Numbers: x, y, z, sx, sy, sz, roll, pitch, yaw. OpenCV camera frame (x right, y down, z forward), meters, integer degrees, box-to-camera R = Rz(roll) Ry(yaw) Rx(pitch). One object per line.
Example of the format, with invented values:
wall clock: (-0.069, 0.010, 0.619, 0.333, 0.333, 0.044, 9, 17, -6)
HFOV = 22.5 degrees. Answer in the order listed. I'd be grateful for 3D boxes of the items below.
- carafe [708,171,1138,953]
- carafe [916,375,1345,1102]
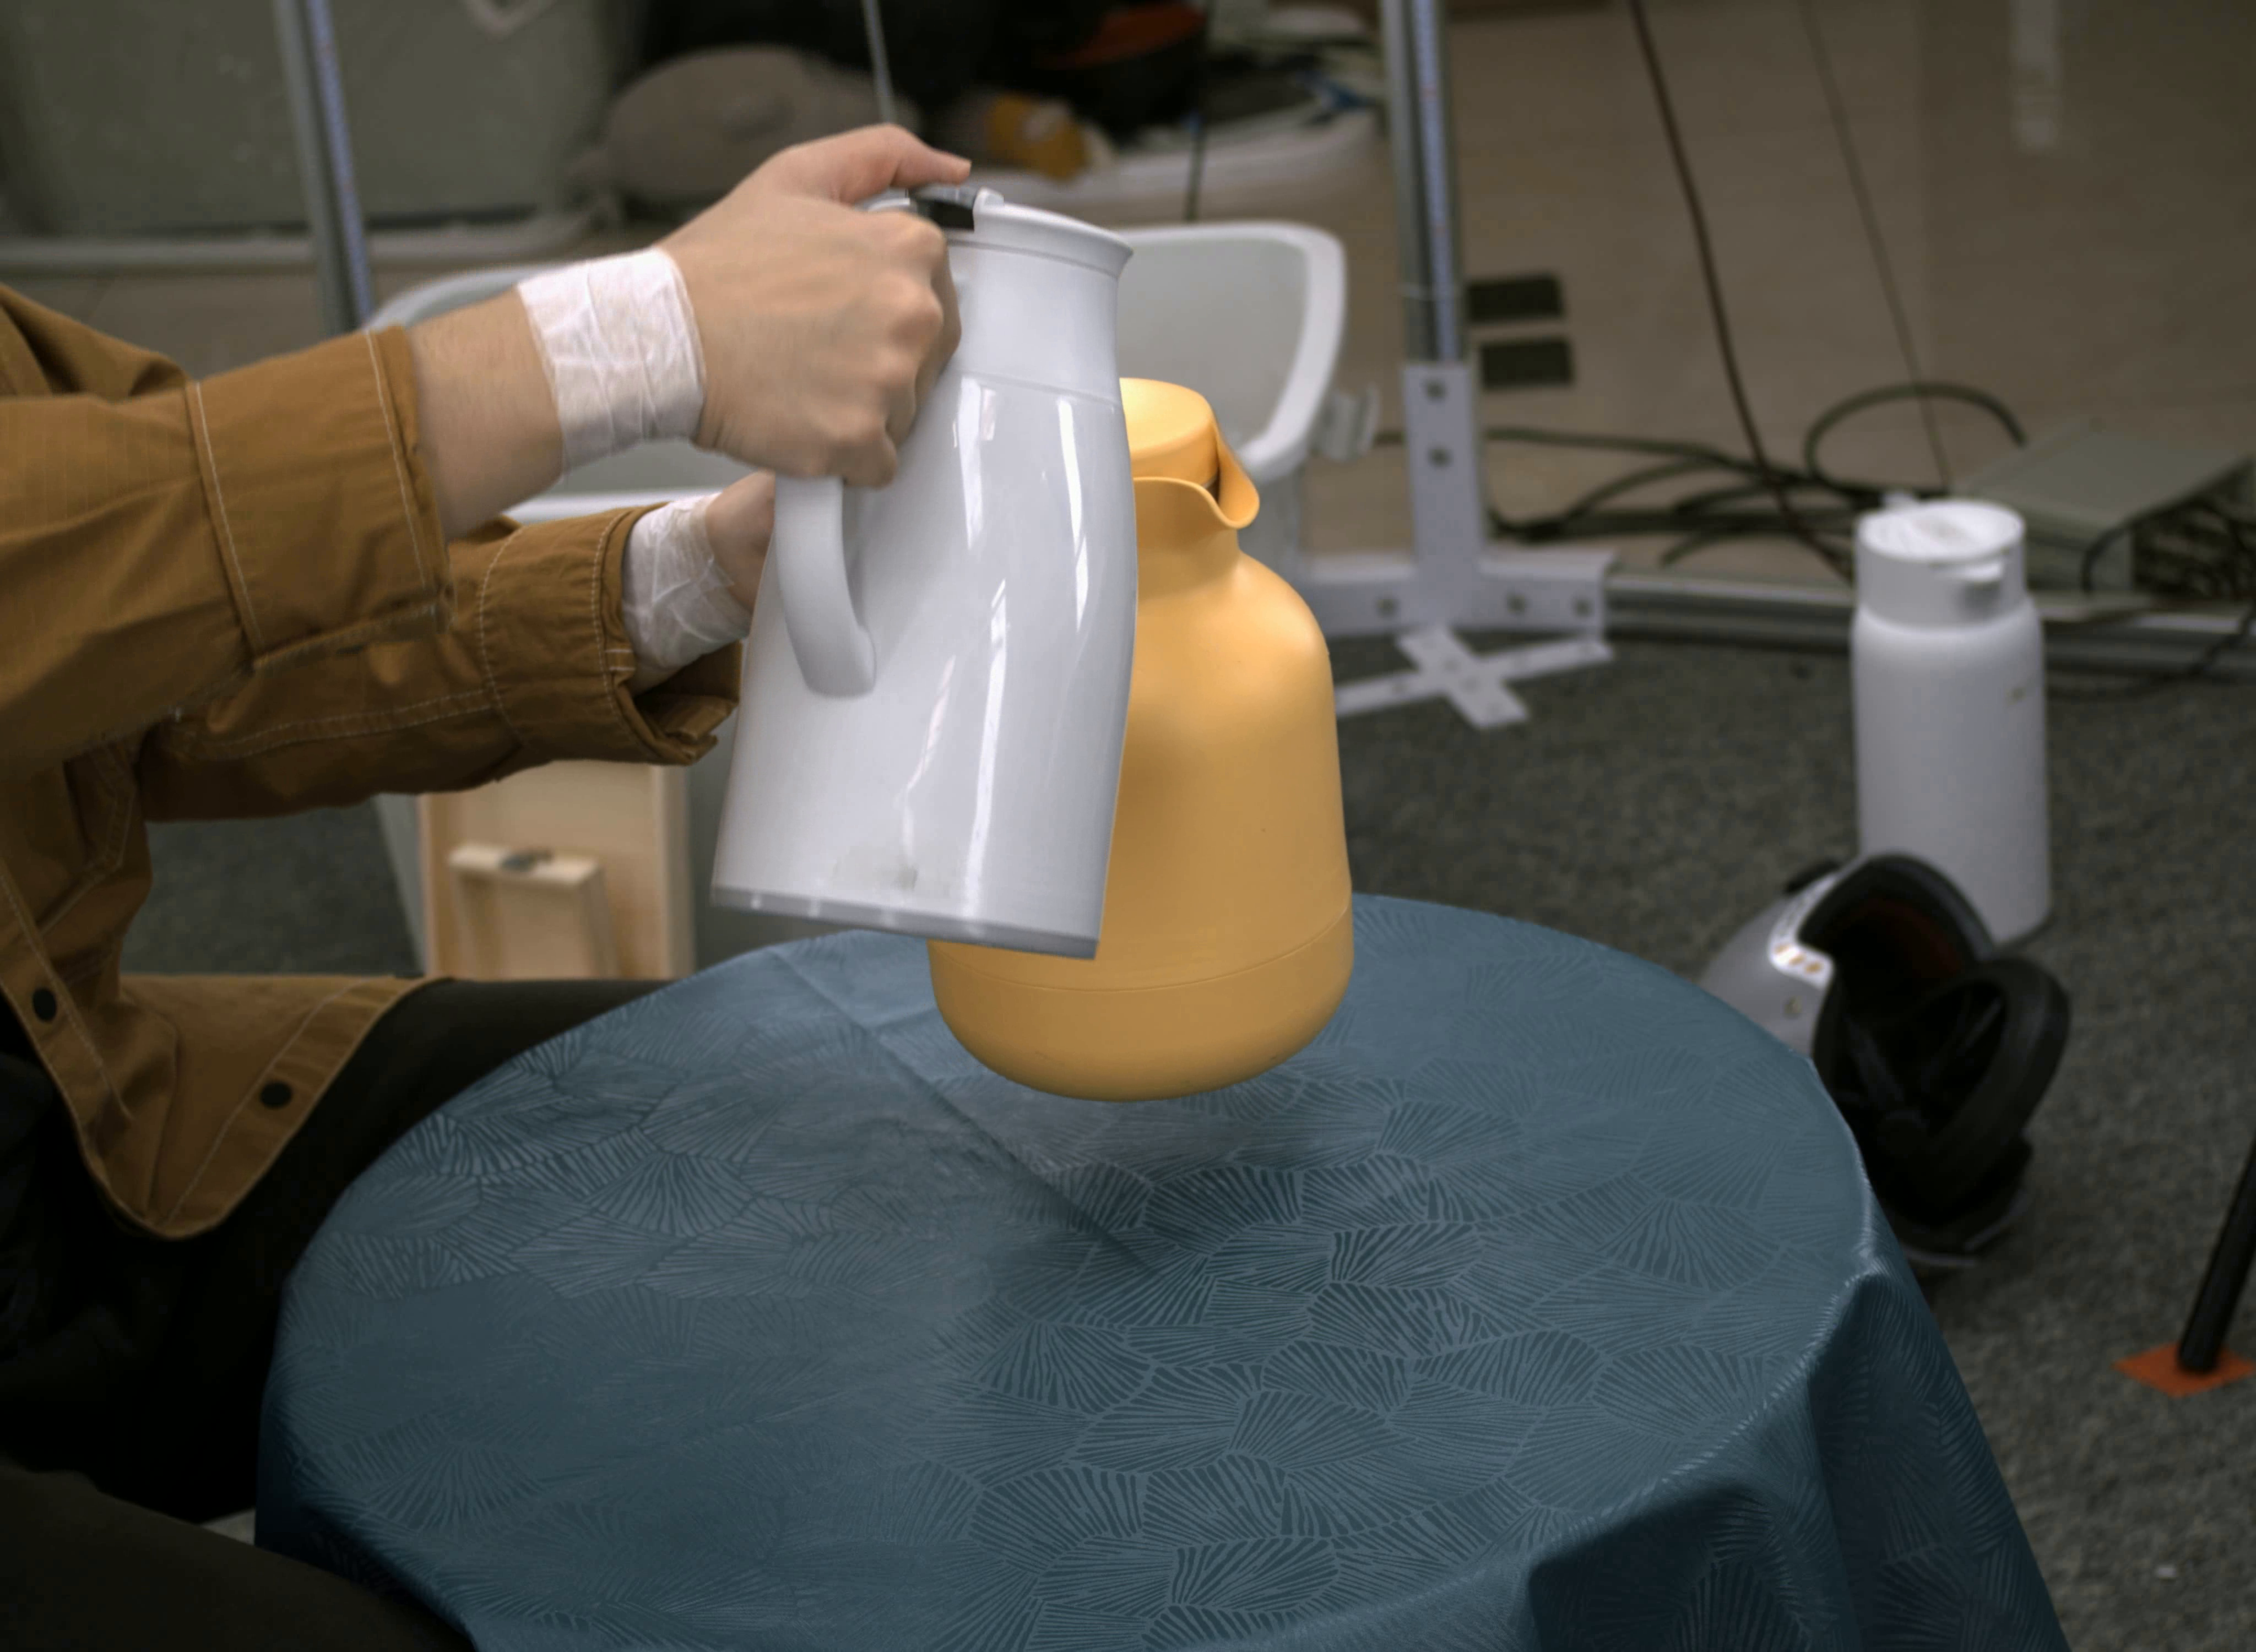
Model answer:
carafe: (-0.066, -0.091, 1.888, 0.132, 0.249, 0.168, 8, -1, 27)
carafe: (-0.015, -0.042, 2.135, 0.162, 0.264, 0.200, -23, 31, -37)
